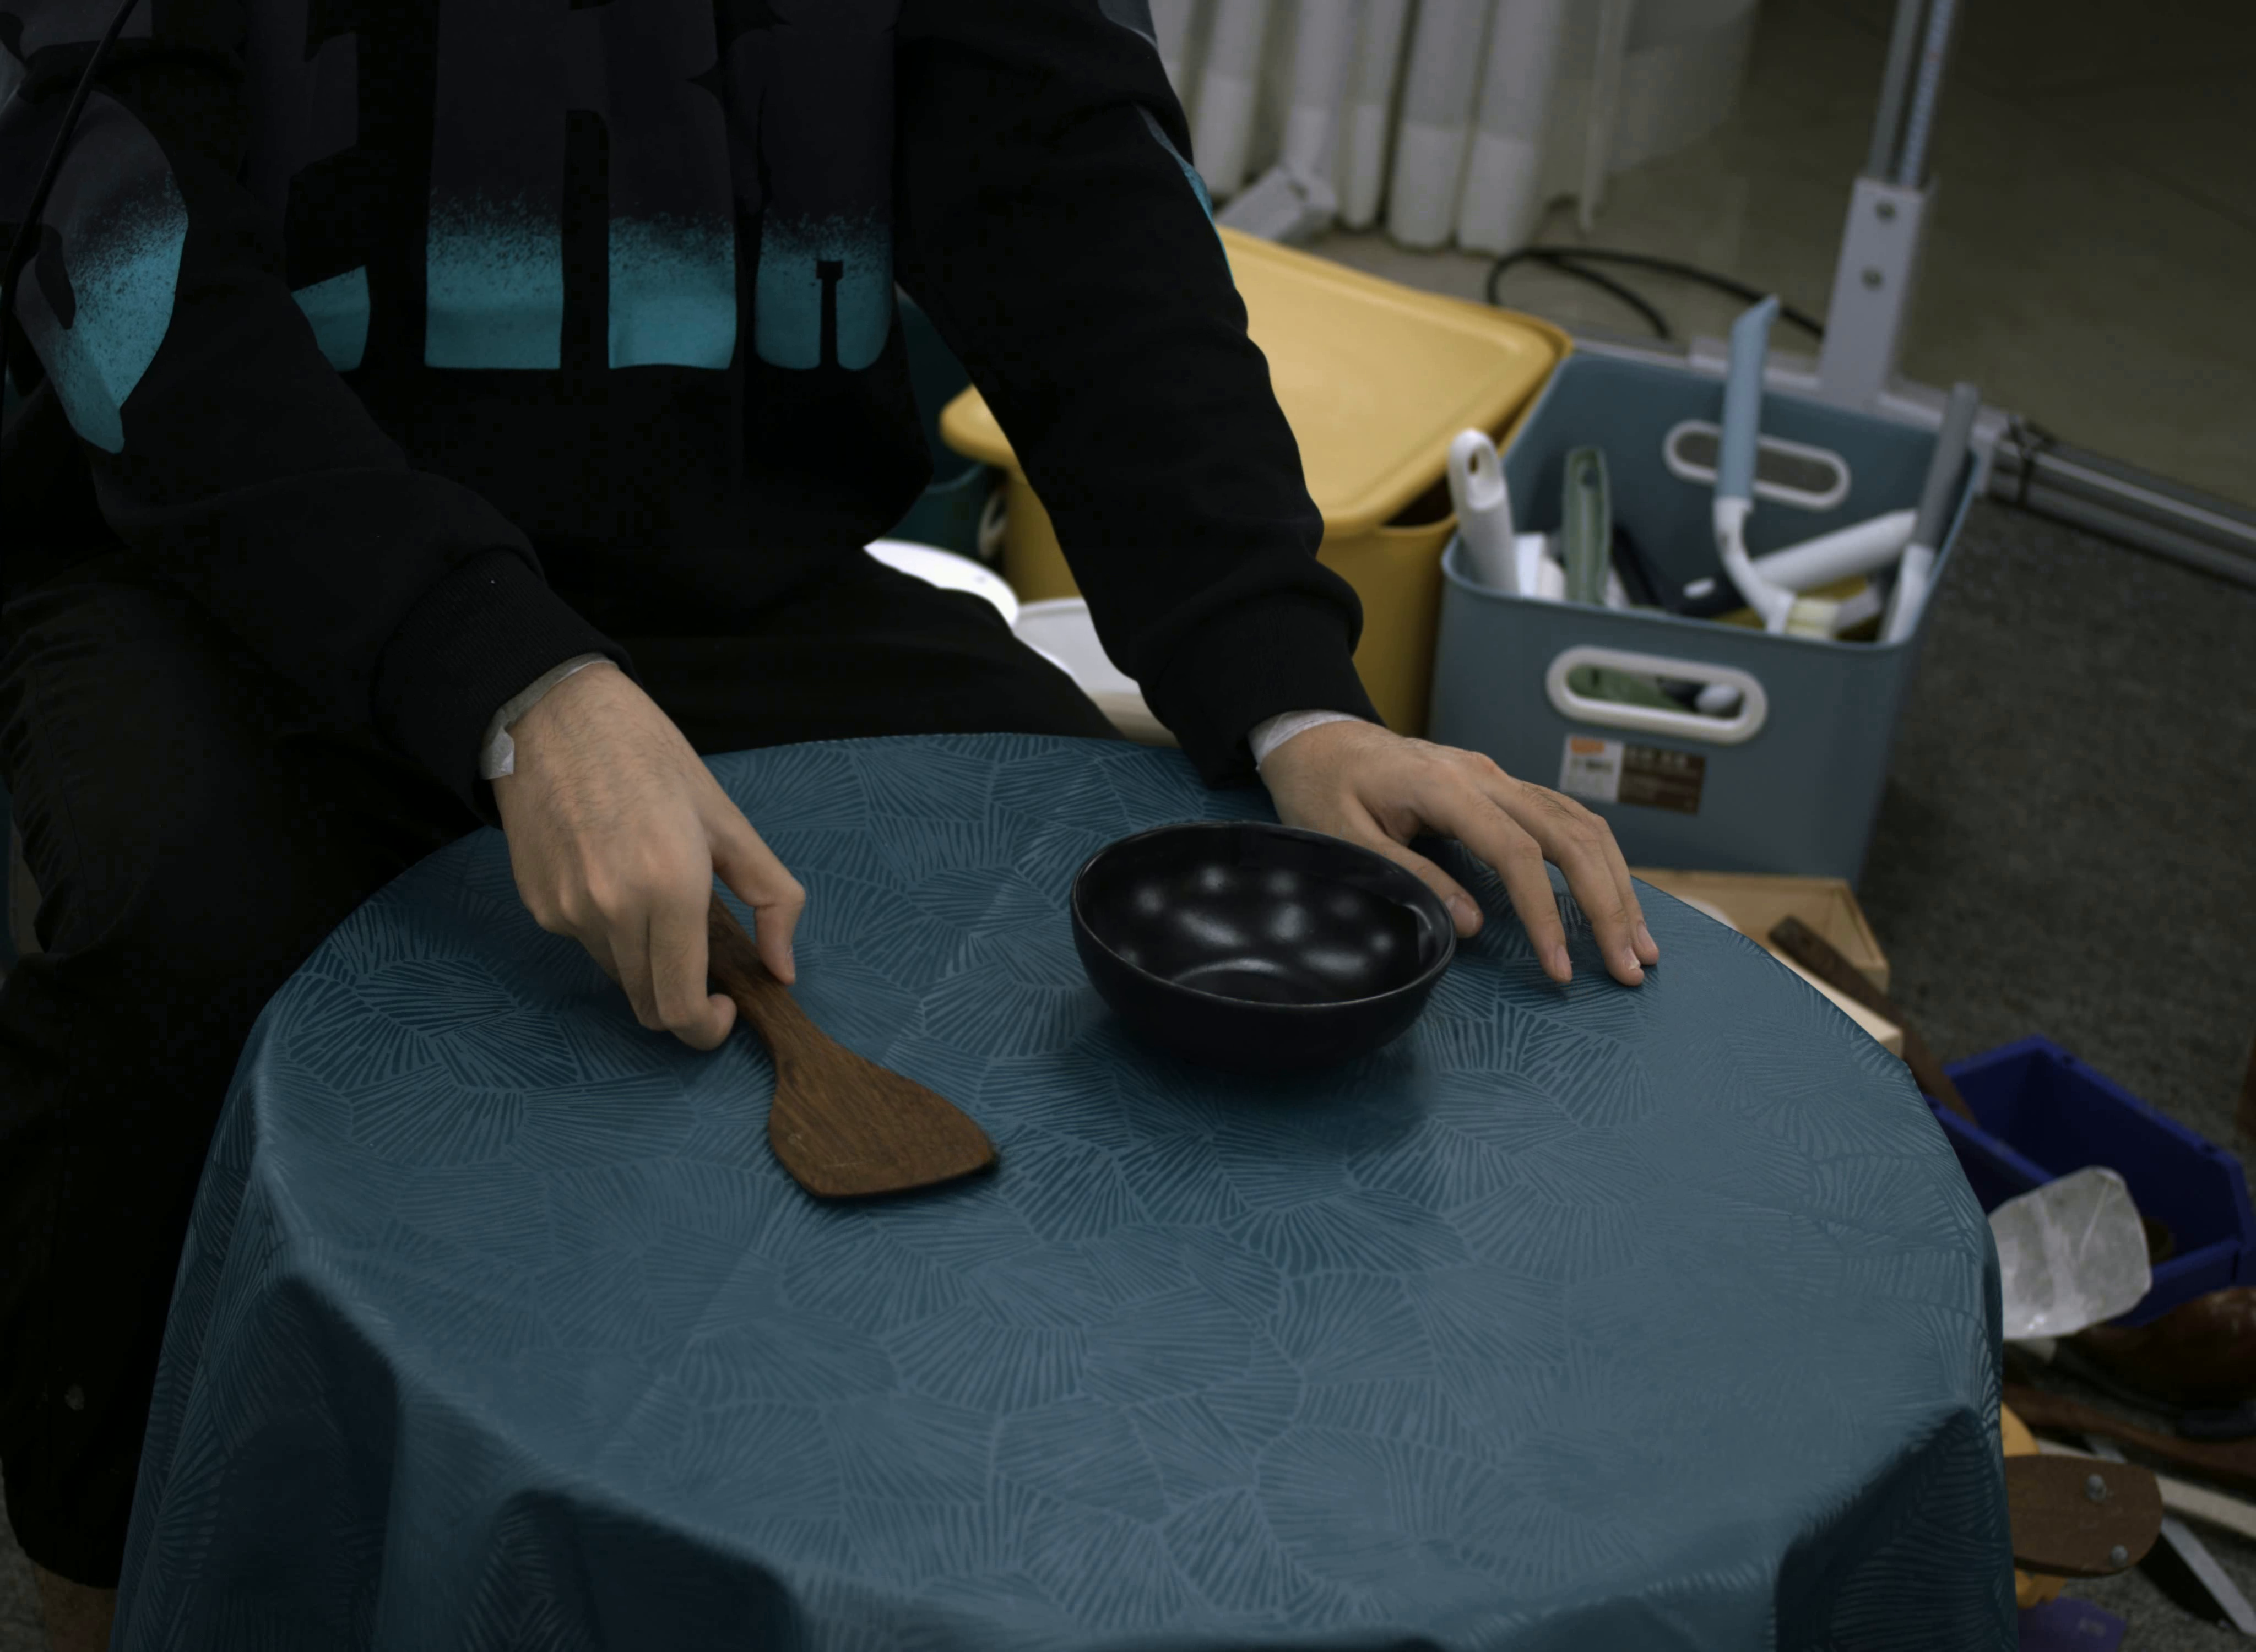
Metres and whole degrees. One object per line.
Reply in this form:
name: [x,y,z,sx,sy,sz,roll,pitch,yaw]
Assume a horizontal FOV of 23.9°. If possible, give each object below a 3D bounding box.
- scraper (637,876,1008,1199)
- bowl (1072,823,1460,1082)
scraper: [-0.118,0.072,1.858,0.075,0.011,0.213,-9,34,-28]
bowl: [0.048,0.053,1.899,0.139,0.049,0.141,3,28,-2]
